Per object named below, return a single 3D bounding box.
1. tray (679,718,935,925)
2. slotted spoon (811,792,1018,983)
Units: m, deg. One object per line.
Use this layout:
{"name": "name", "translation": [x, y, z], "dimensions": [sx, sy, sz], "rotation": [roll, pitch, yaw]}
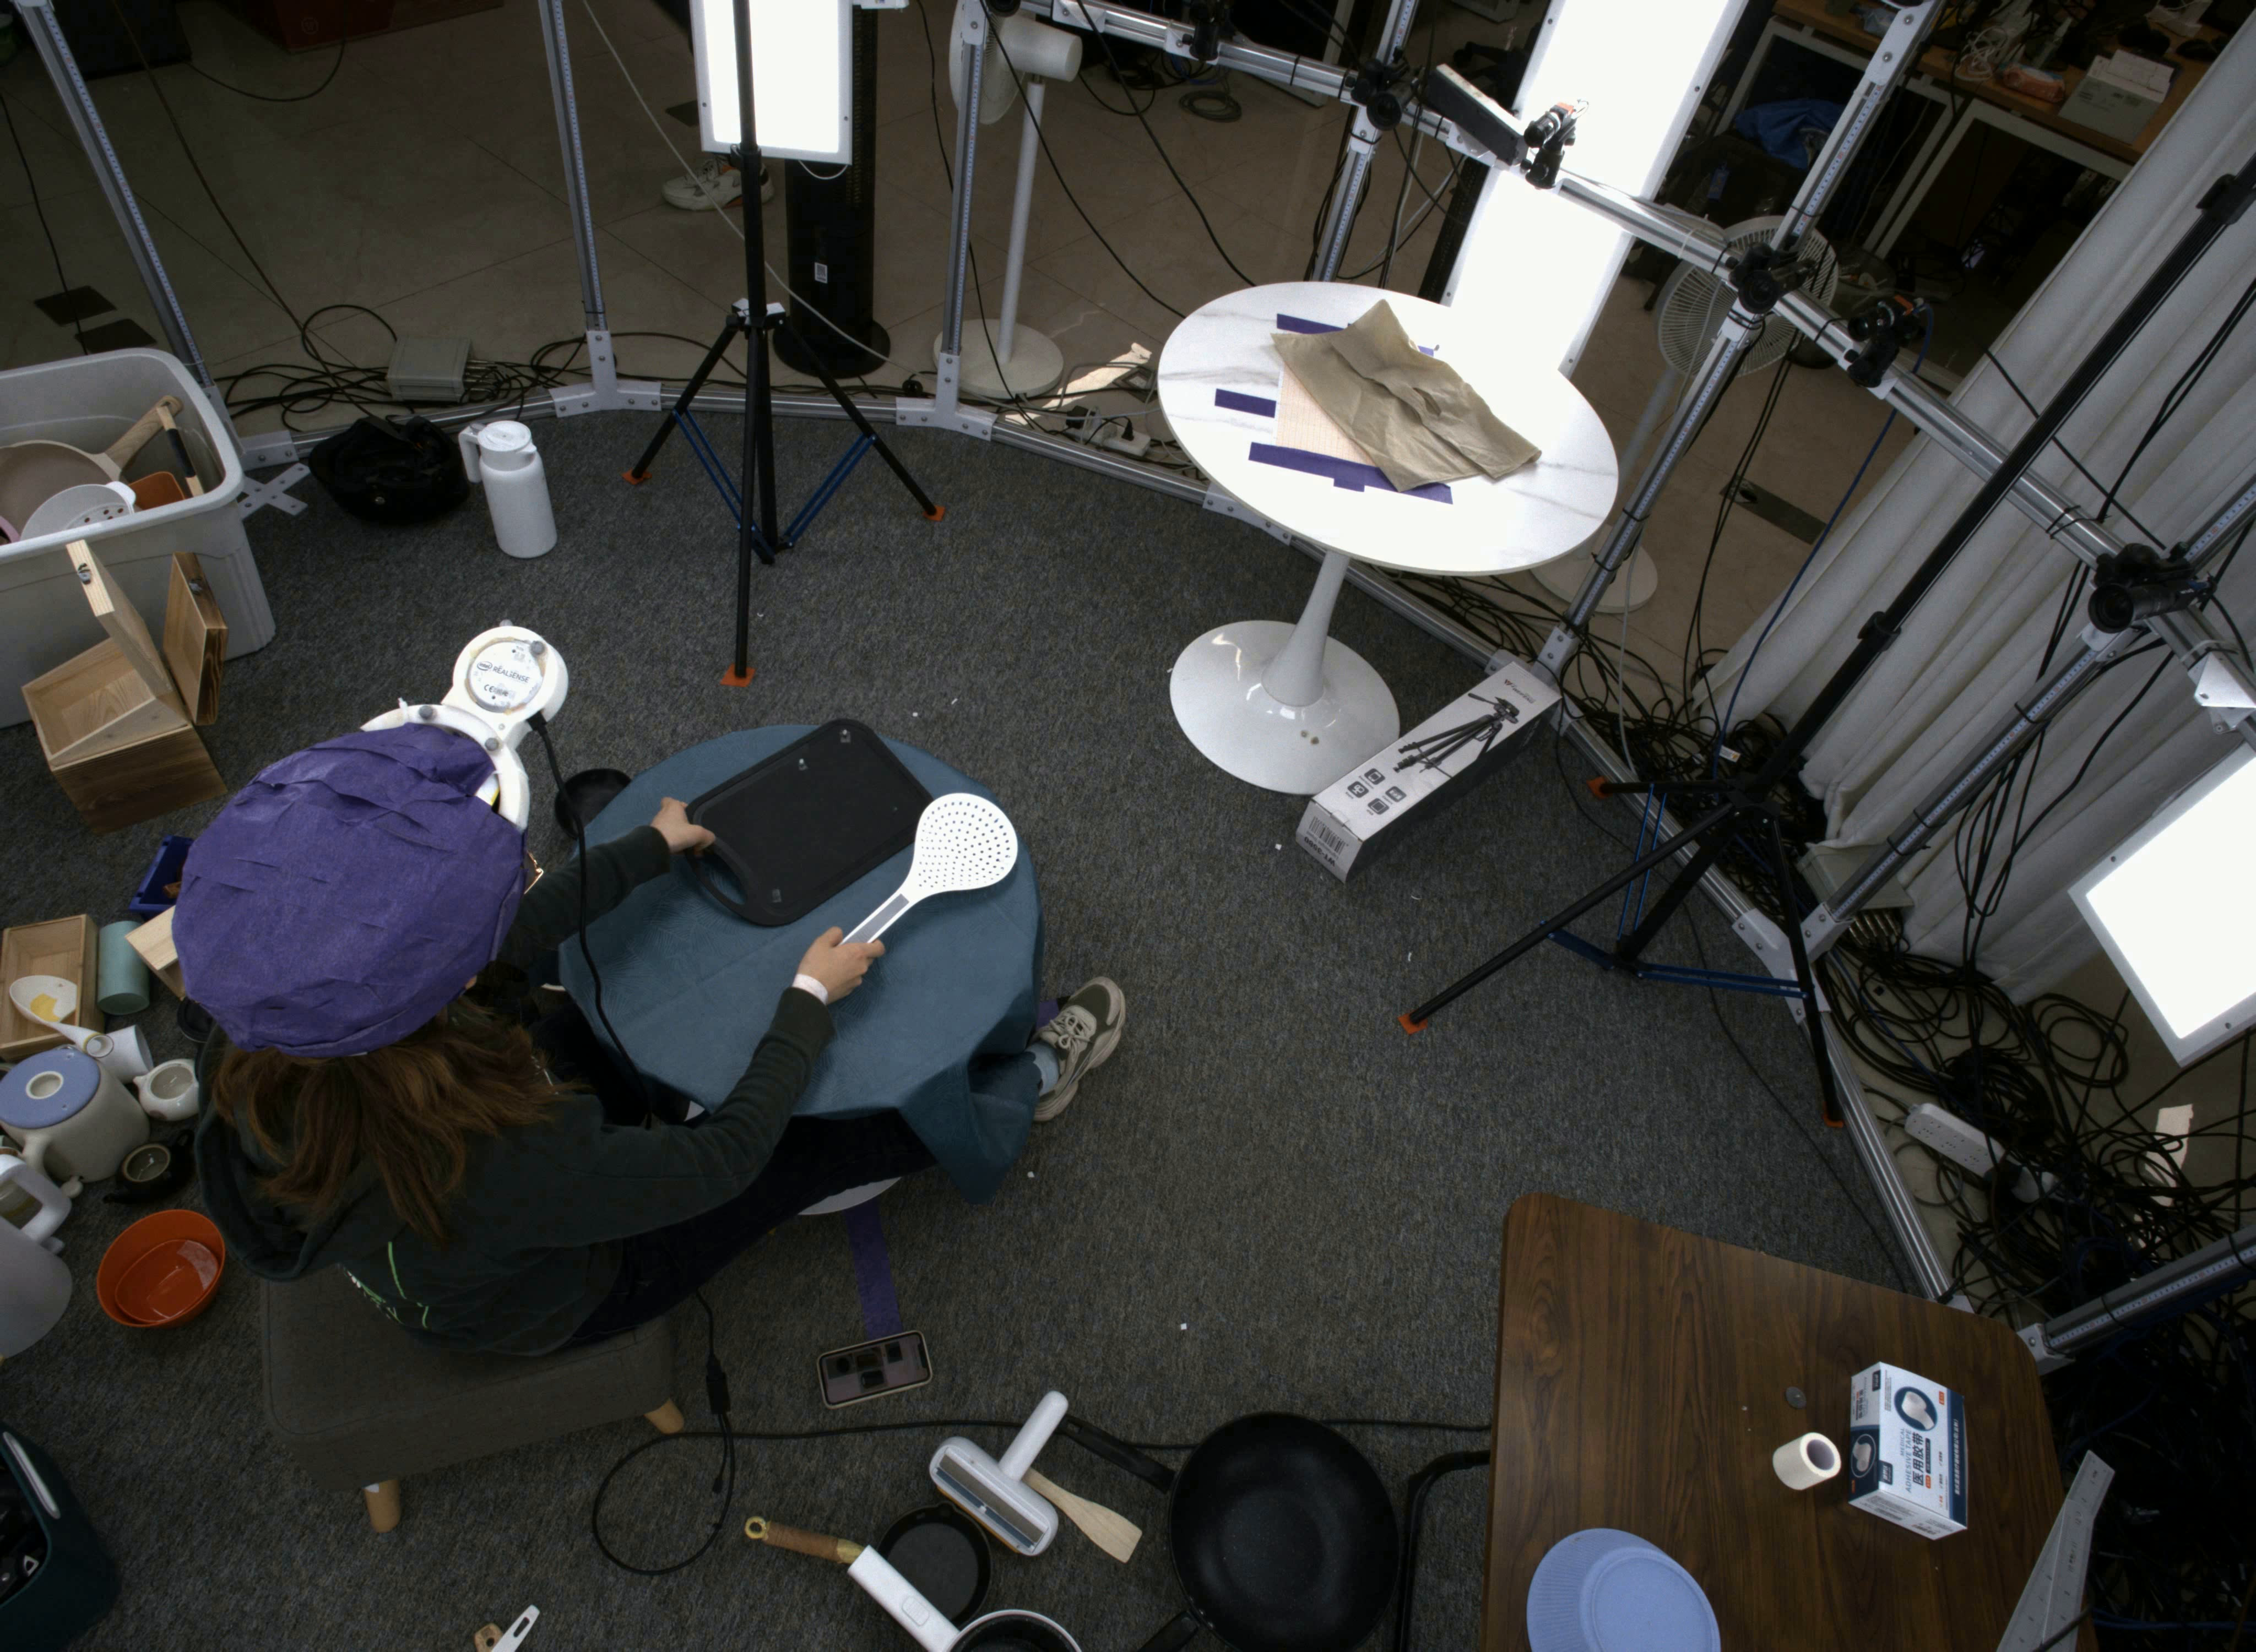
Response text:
{"name": "tray", "translation": [-0.423, -0.010, 1.707], "dimensions": [0.209, 0.010, 0.326], "rotation": [48, 56, 7]}
{"name": "slotted spoon", "translation": [-0.274, 0.079, 1.661], "dimensions": [0.136, 0.046, 0.349], "rotation": [45, 49, -1]}
